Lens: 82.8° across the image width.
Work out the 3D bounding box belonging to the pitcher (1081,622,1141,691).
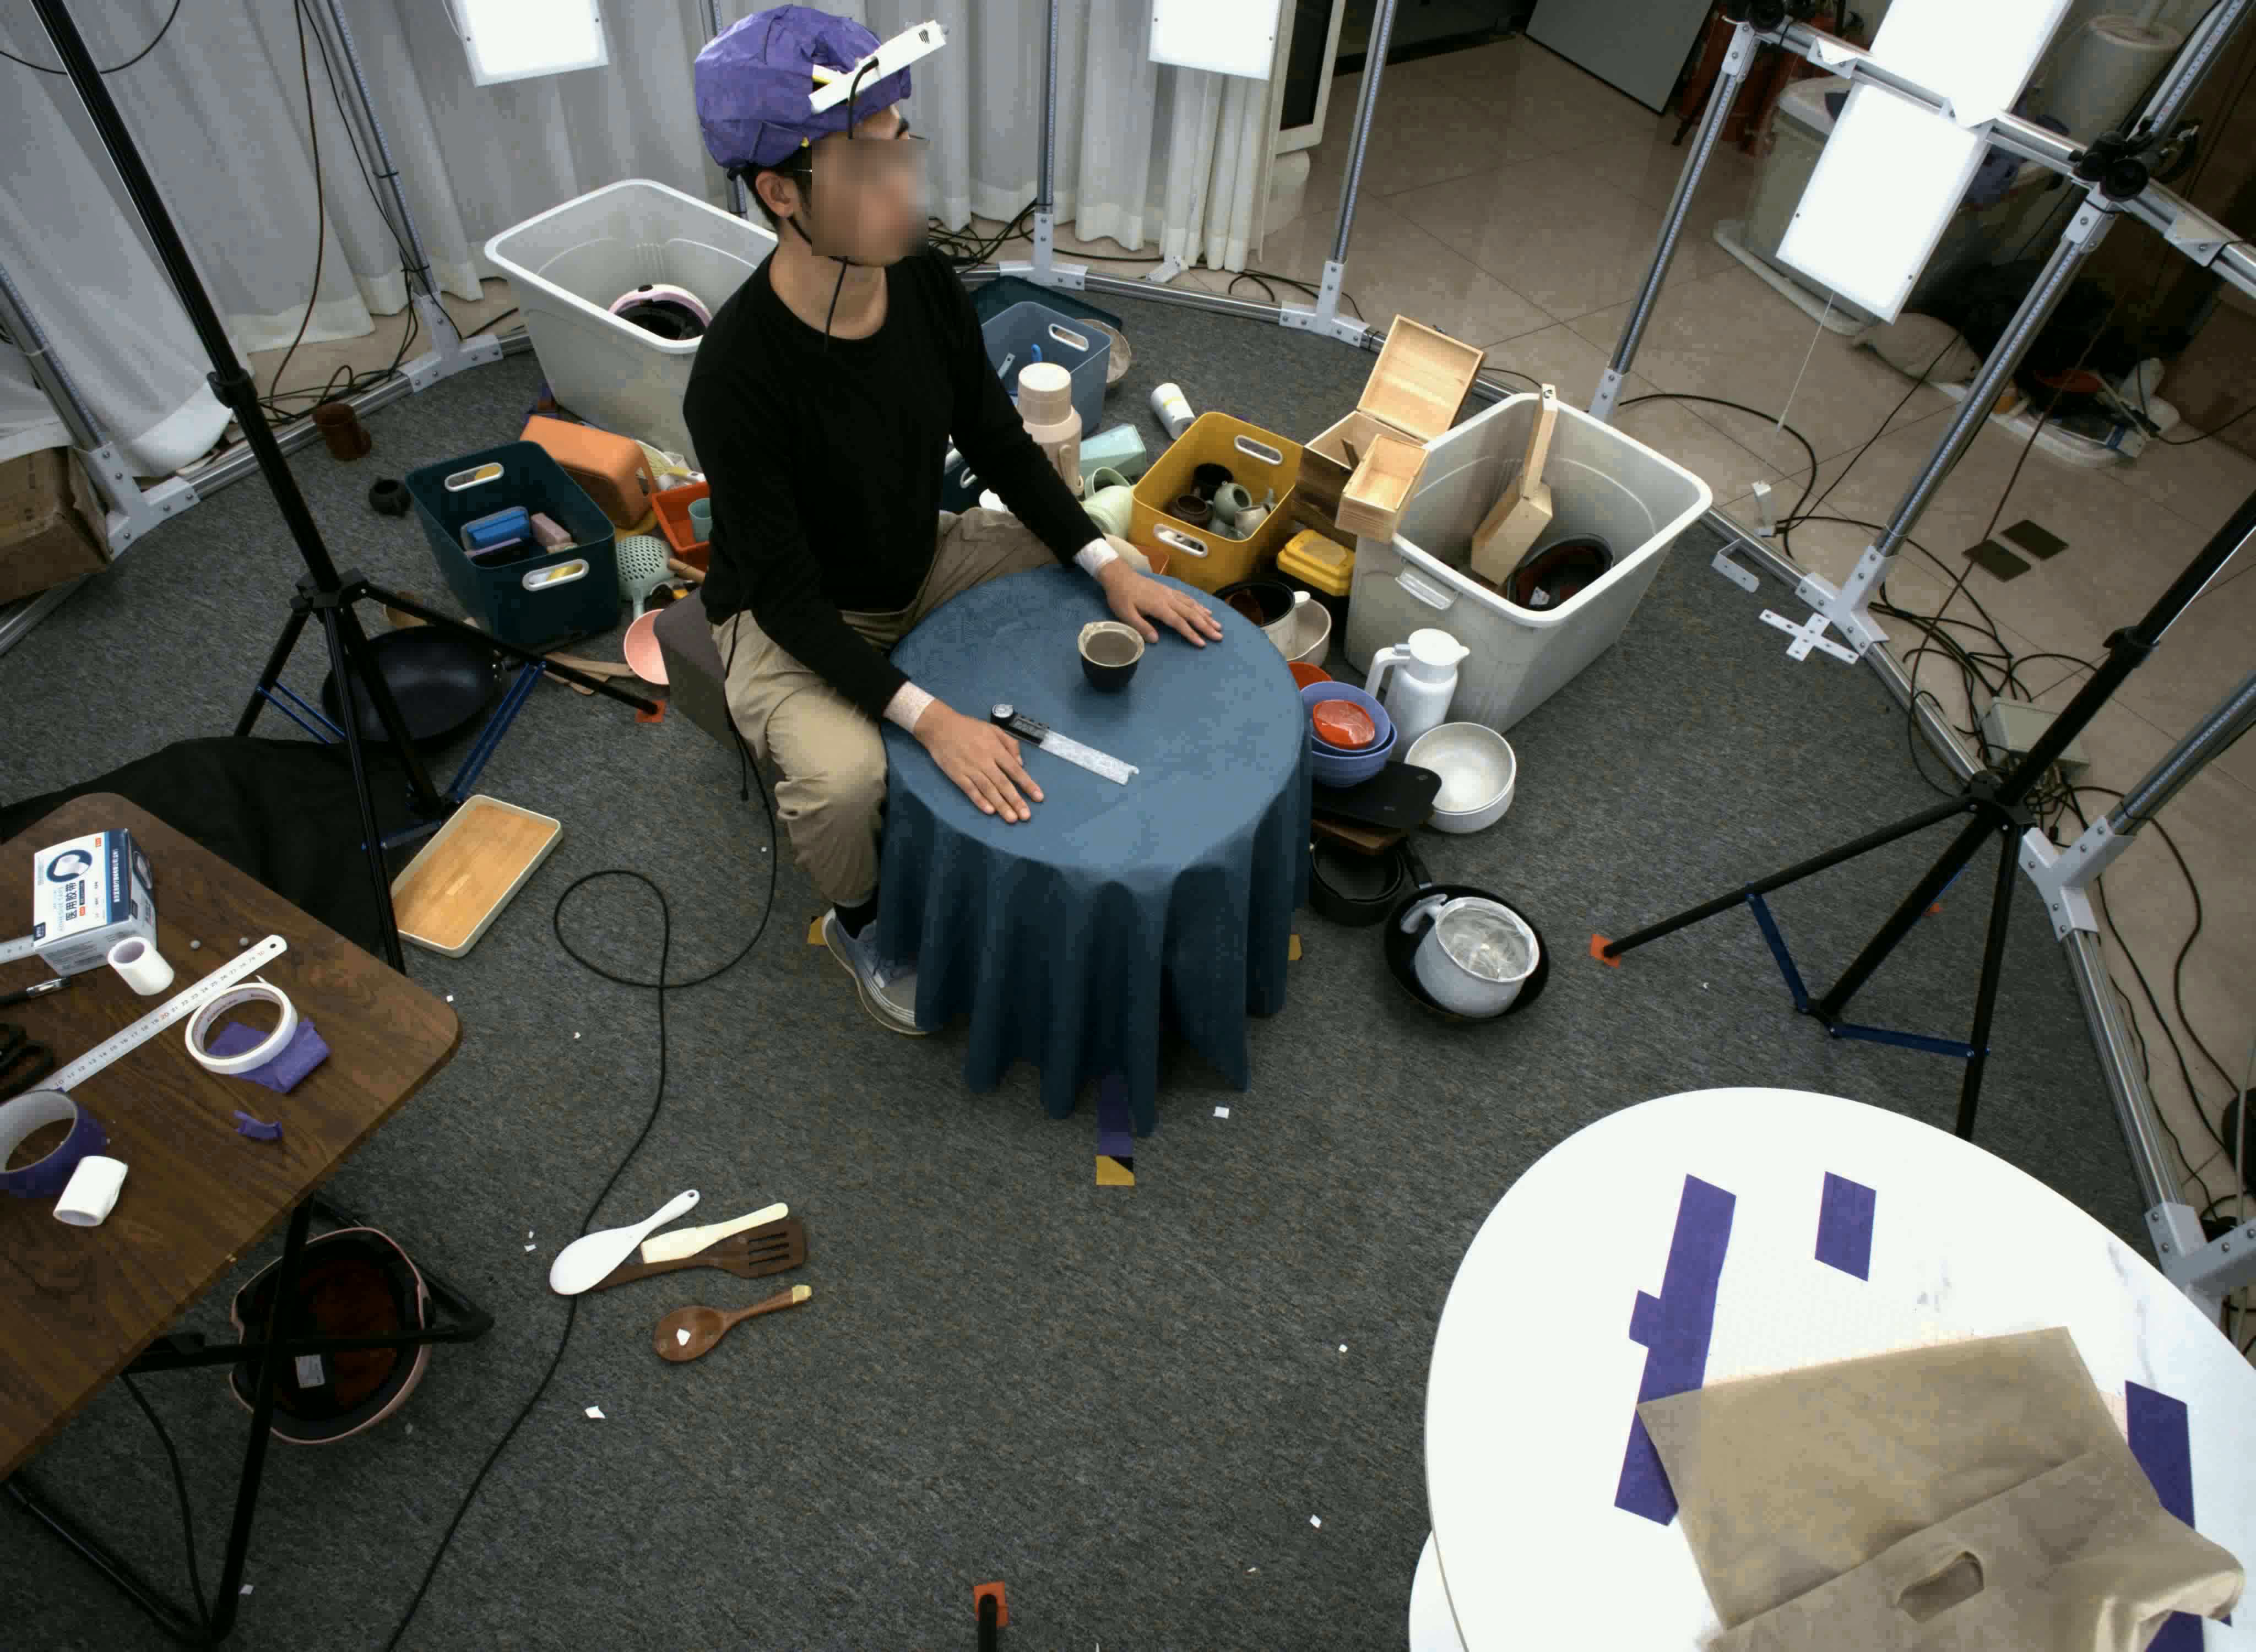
[{"bbox_3d":[-0.029,-0.237,1.827,0.084,0.069,0.097,-31,58,-26],"label":"pitcher"}]

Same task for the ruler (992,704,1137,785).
[{"bbox_3d":[-0.091,-0.115,1.749,0.220,0.023,0.039,24,58,18],"label":"ruler"}]
